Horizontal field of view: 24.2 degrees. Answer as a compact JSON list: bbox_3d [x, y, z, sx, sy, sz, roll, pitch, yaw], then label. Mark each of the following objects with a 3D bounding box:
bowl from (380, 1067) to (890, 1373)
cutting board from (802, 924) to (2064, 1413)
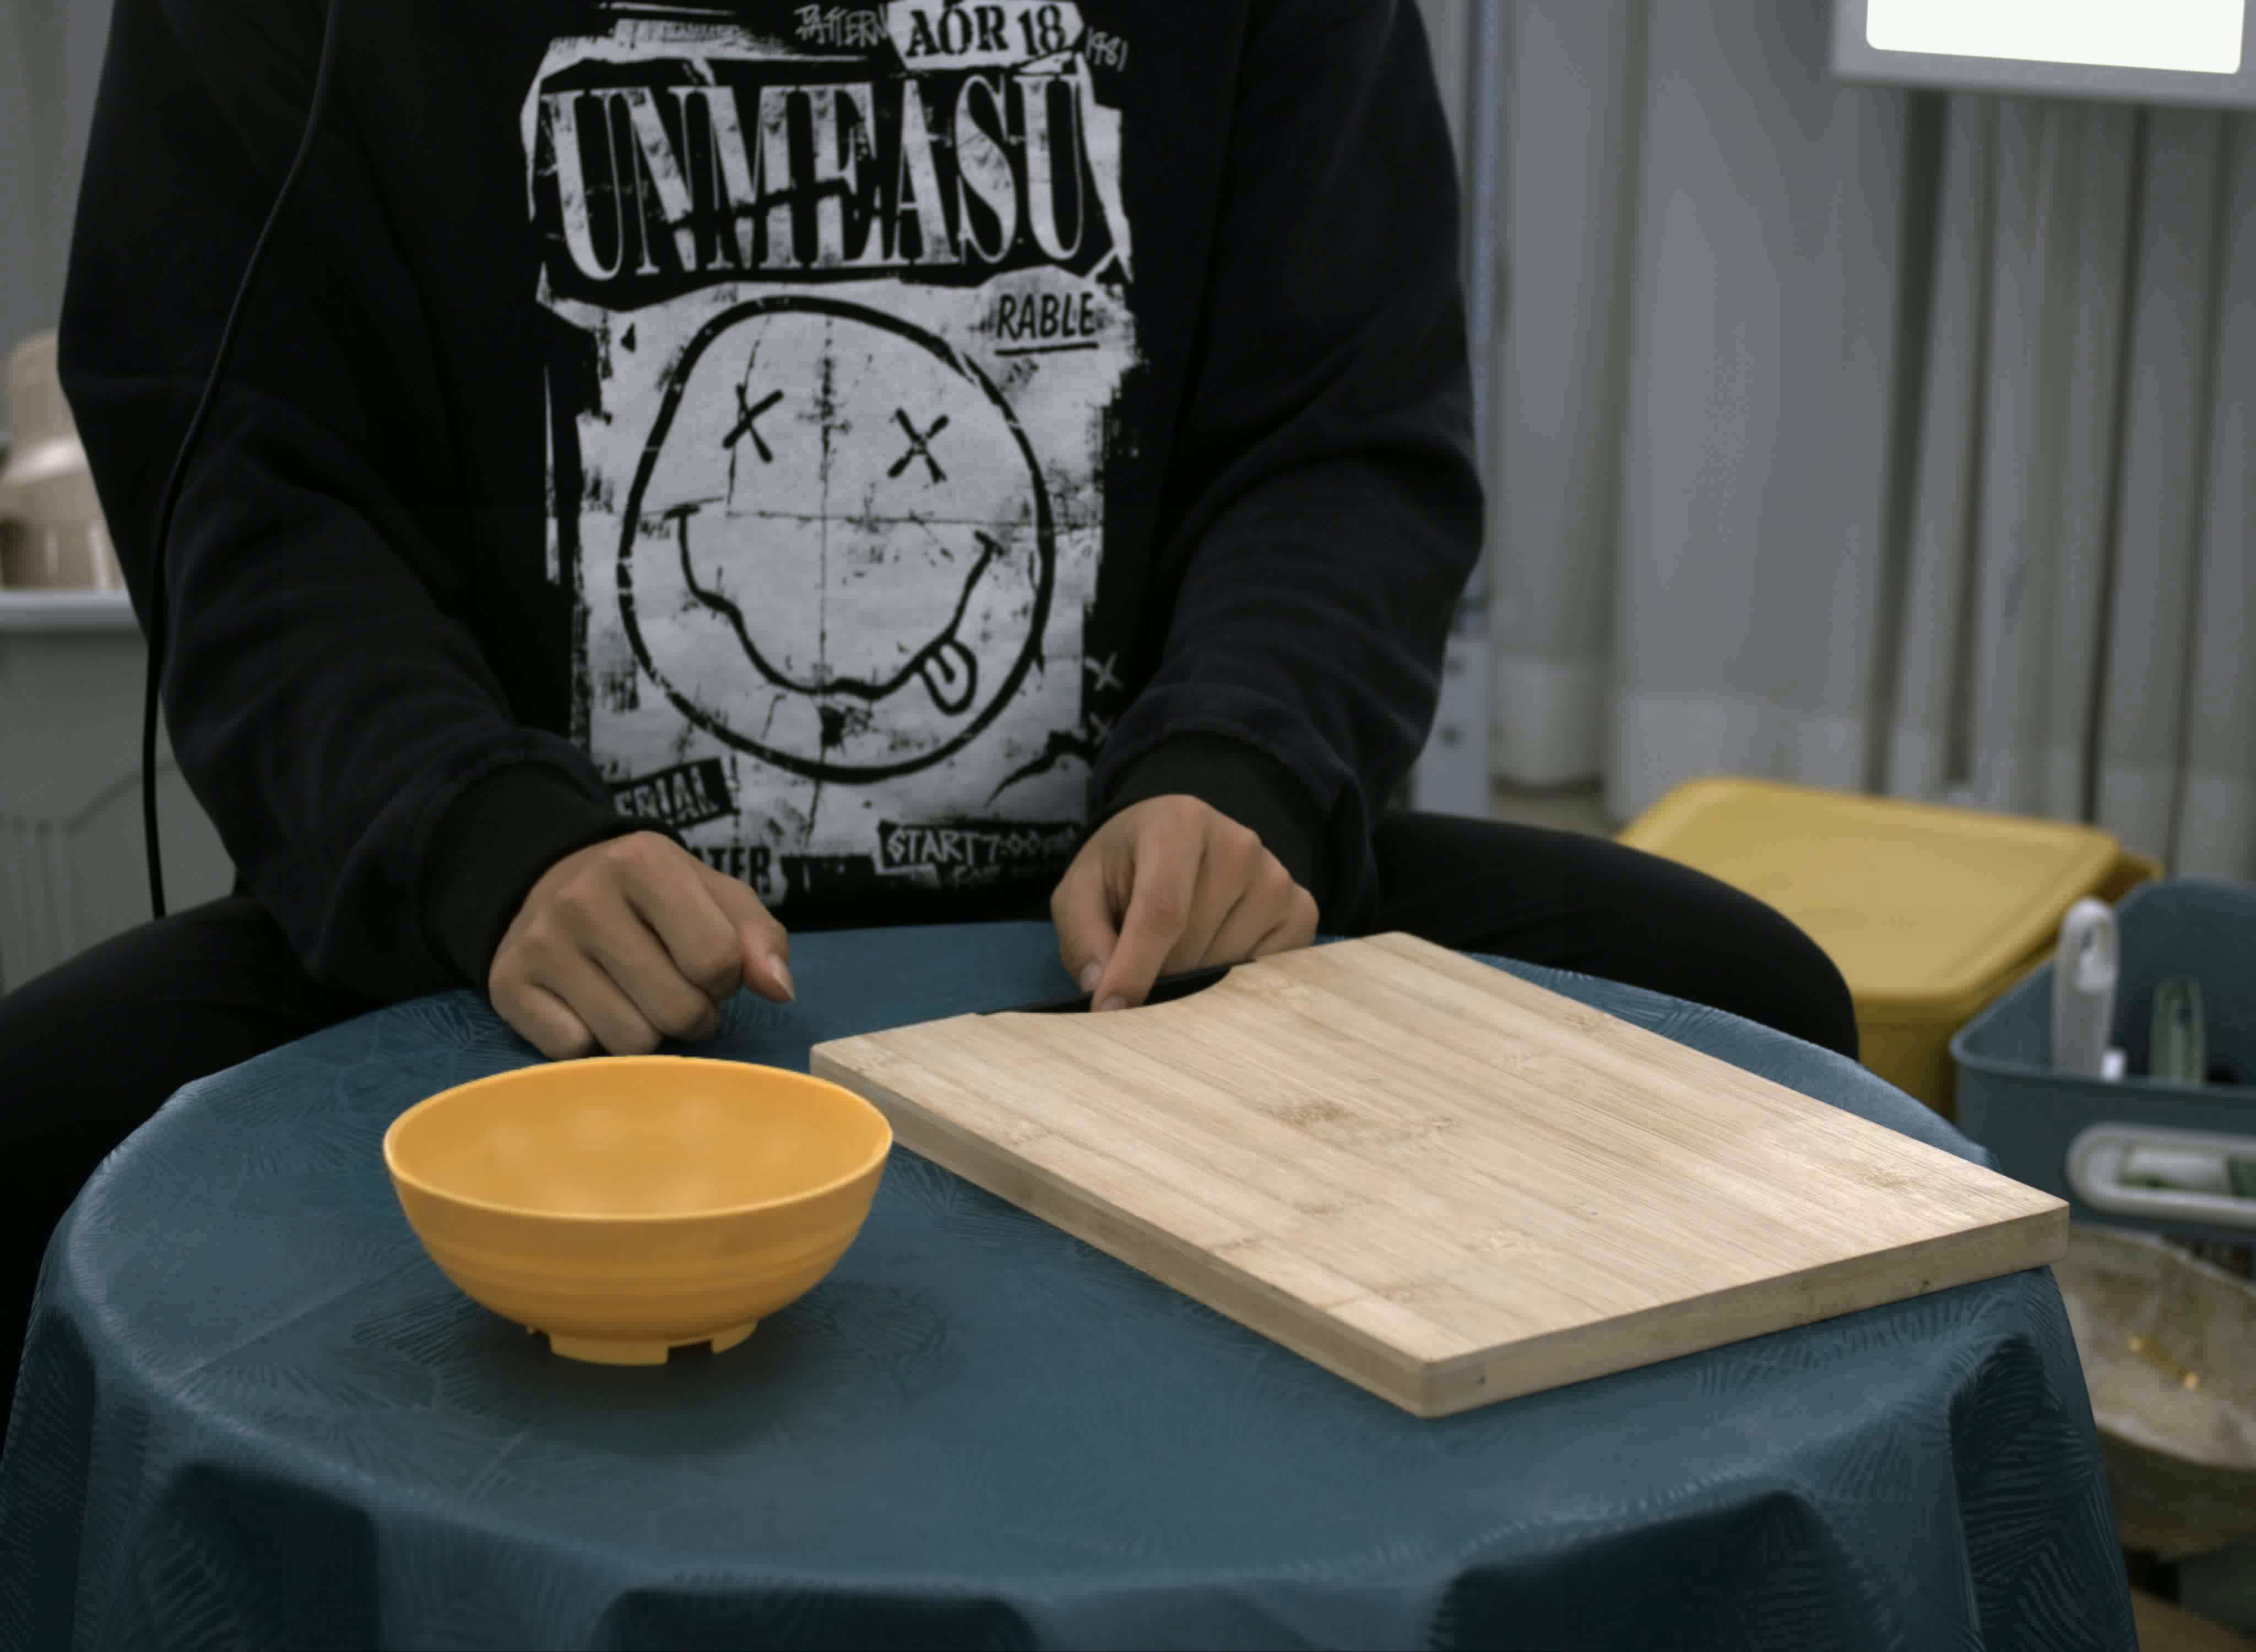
[{"bbox_3d":[-0.141,0.117,1.501,0.145,0.060,0.144,3,14,0],"label":"bowl"},{"bbox_3d":[0.086,0.100,1.647,0.252,0.024,0.344,-10,19,-34],"label":"cutting board"}]
